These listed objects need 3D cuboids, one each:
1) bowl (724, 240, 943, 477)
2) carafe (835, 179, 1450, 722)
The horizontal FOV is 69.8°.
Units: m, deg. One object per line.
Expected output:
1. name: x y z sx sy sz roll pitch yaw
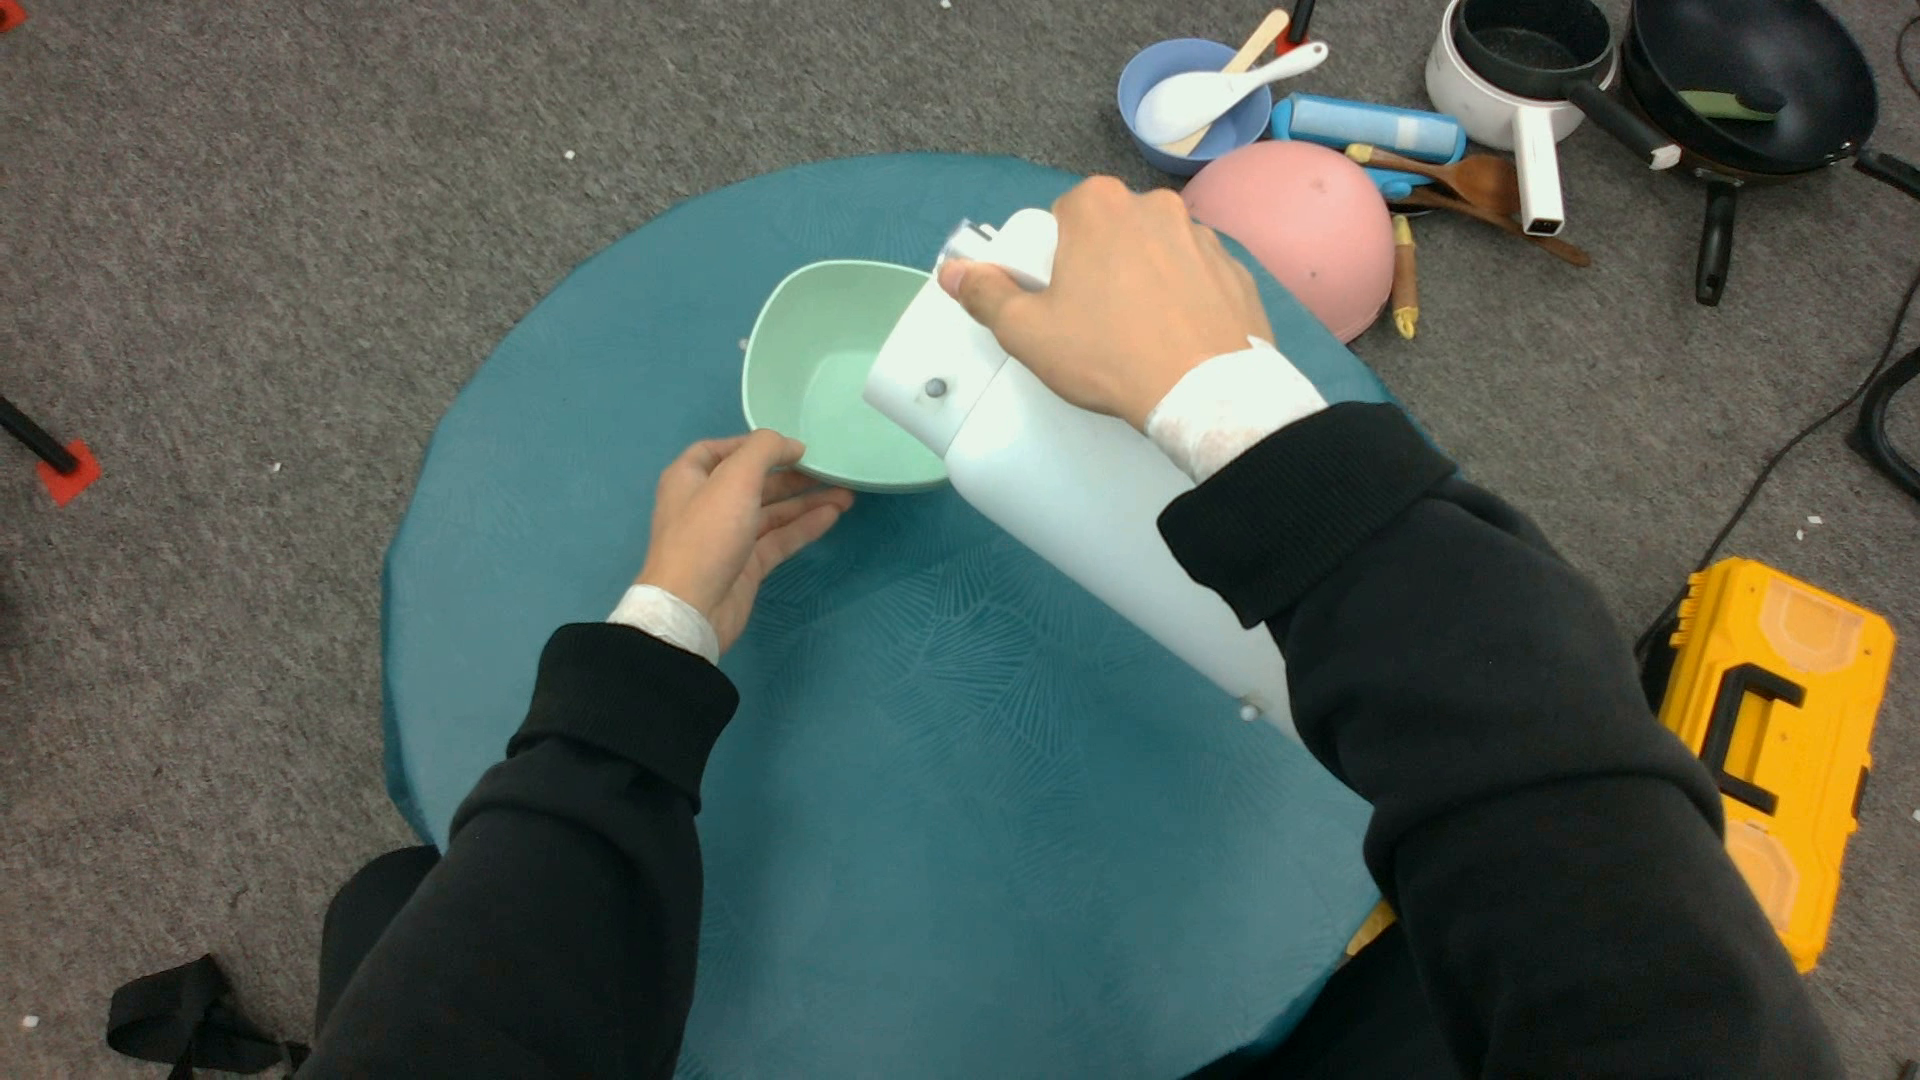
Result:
1. bowl: -0.059 -0.092 0.766 0.151 0.058 0.152 2 70 -6
2. carafe: 0.084 -0.045 0.609 0.269 0.172 0.124 37 65 1
